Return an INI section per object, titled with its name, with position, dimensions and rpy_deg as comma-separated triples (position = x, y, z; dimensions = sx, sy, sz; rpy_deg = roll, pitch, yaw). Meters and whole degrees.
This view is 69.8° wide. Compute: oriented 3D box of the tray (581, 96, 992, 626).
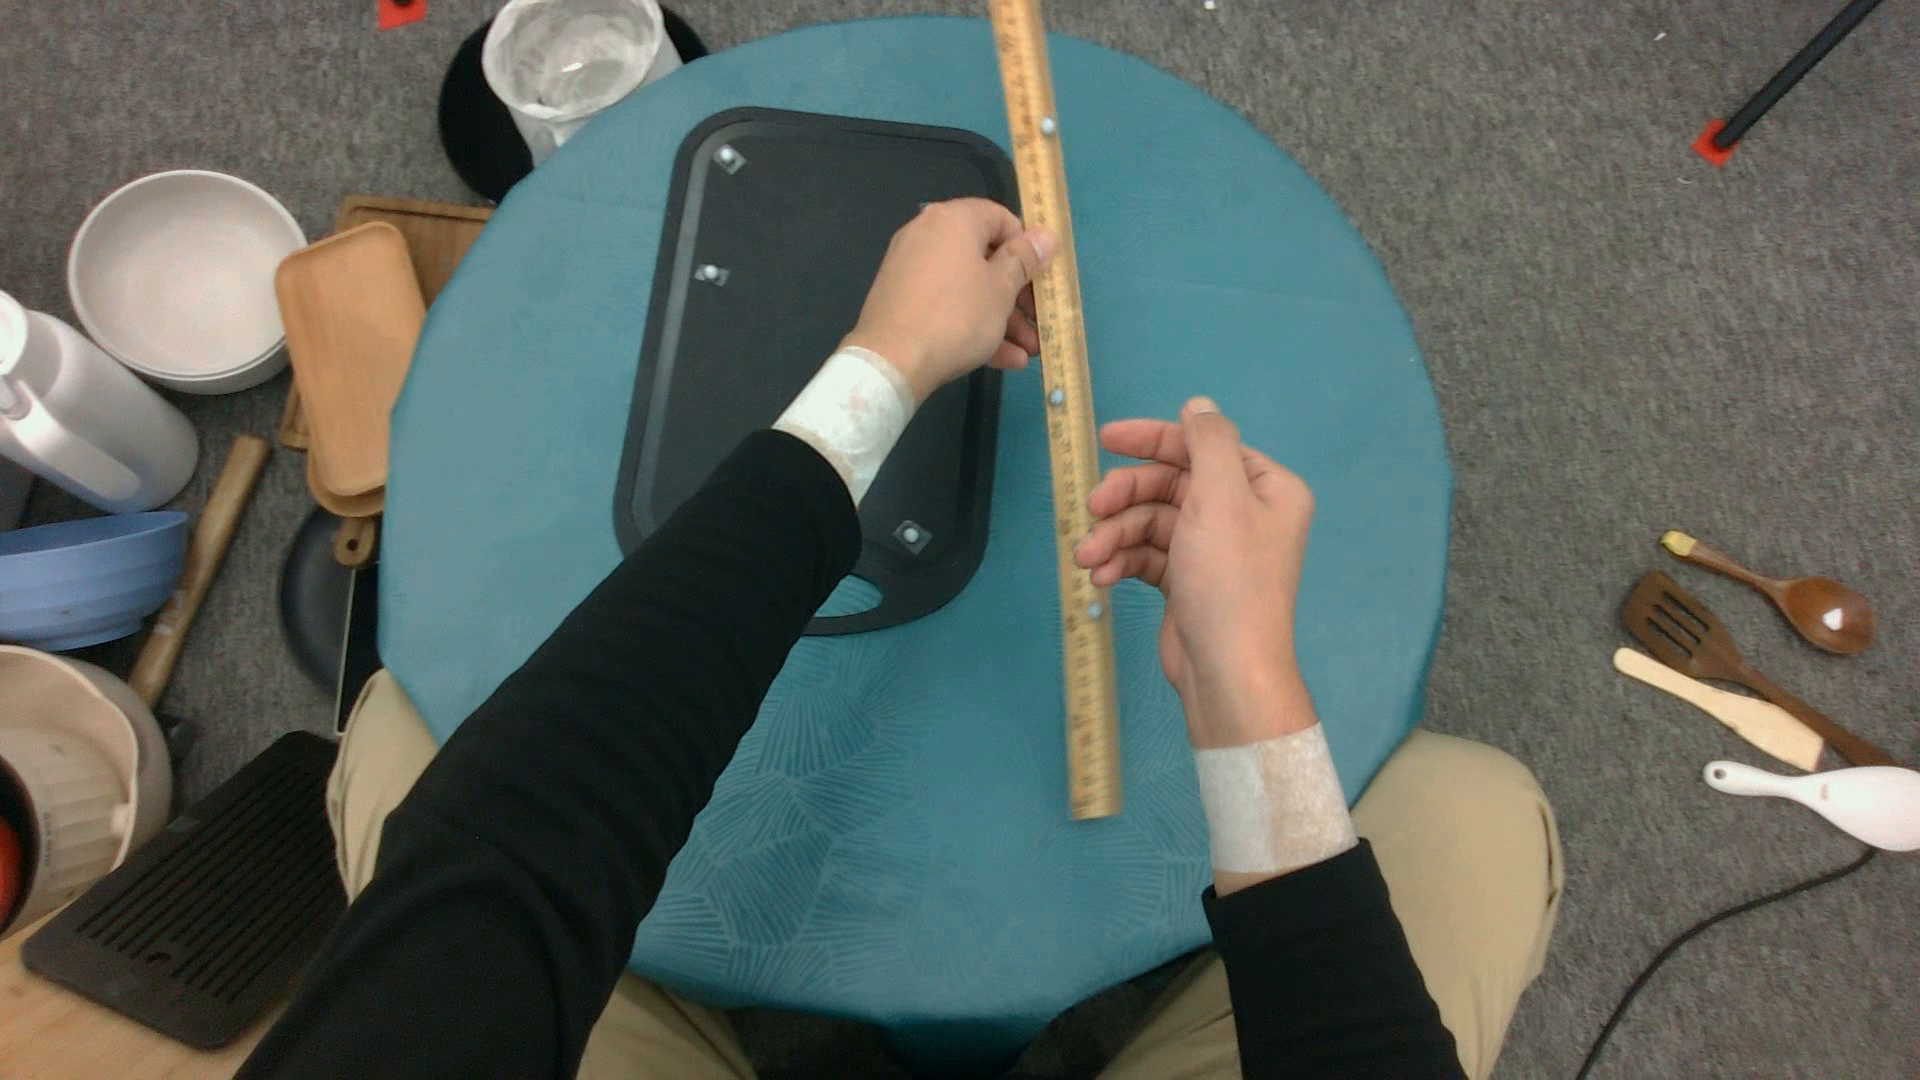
[tray]
position = -0.095, -0.110, 0.790
dimensions = 0.211, 0.010, 0.326
rpy_deg = 6, 73, -2

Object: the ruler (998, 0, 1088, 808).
[ruler]
position = 0.042, -0.110, 0.727
dimensions = 0.027, 0.006, 0.500
rpy_deg = -2, 87, -8
